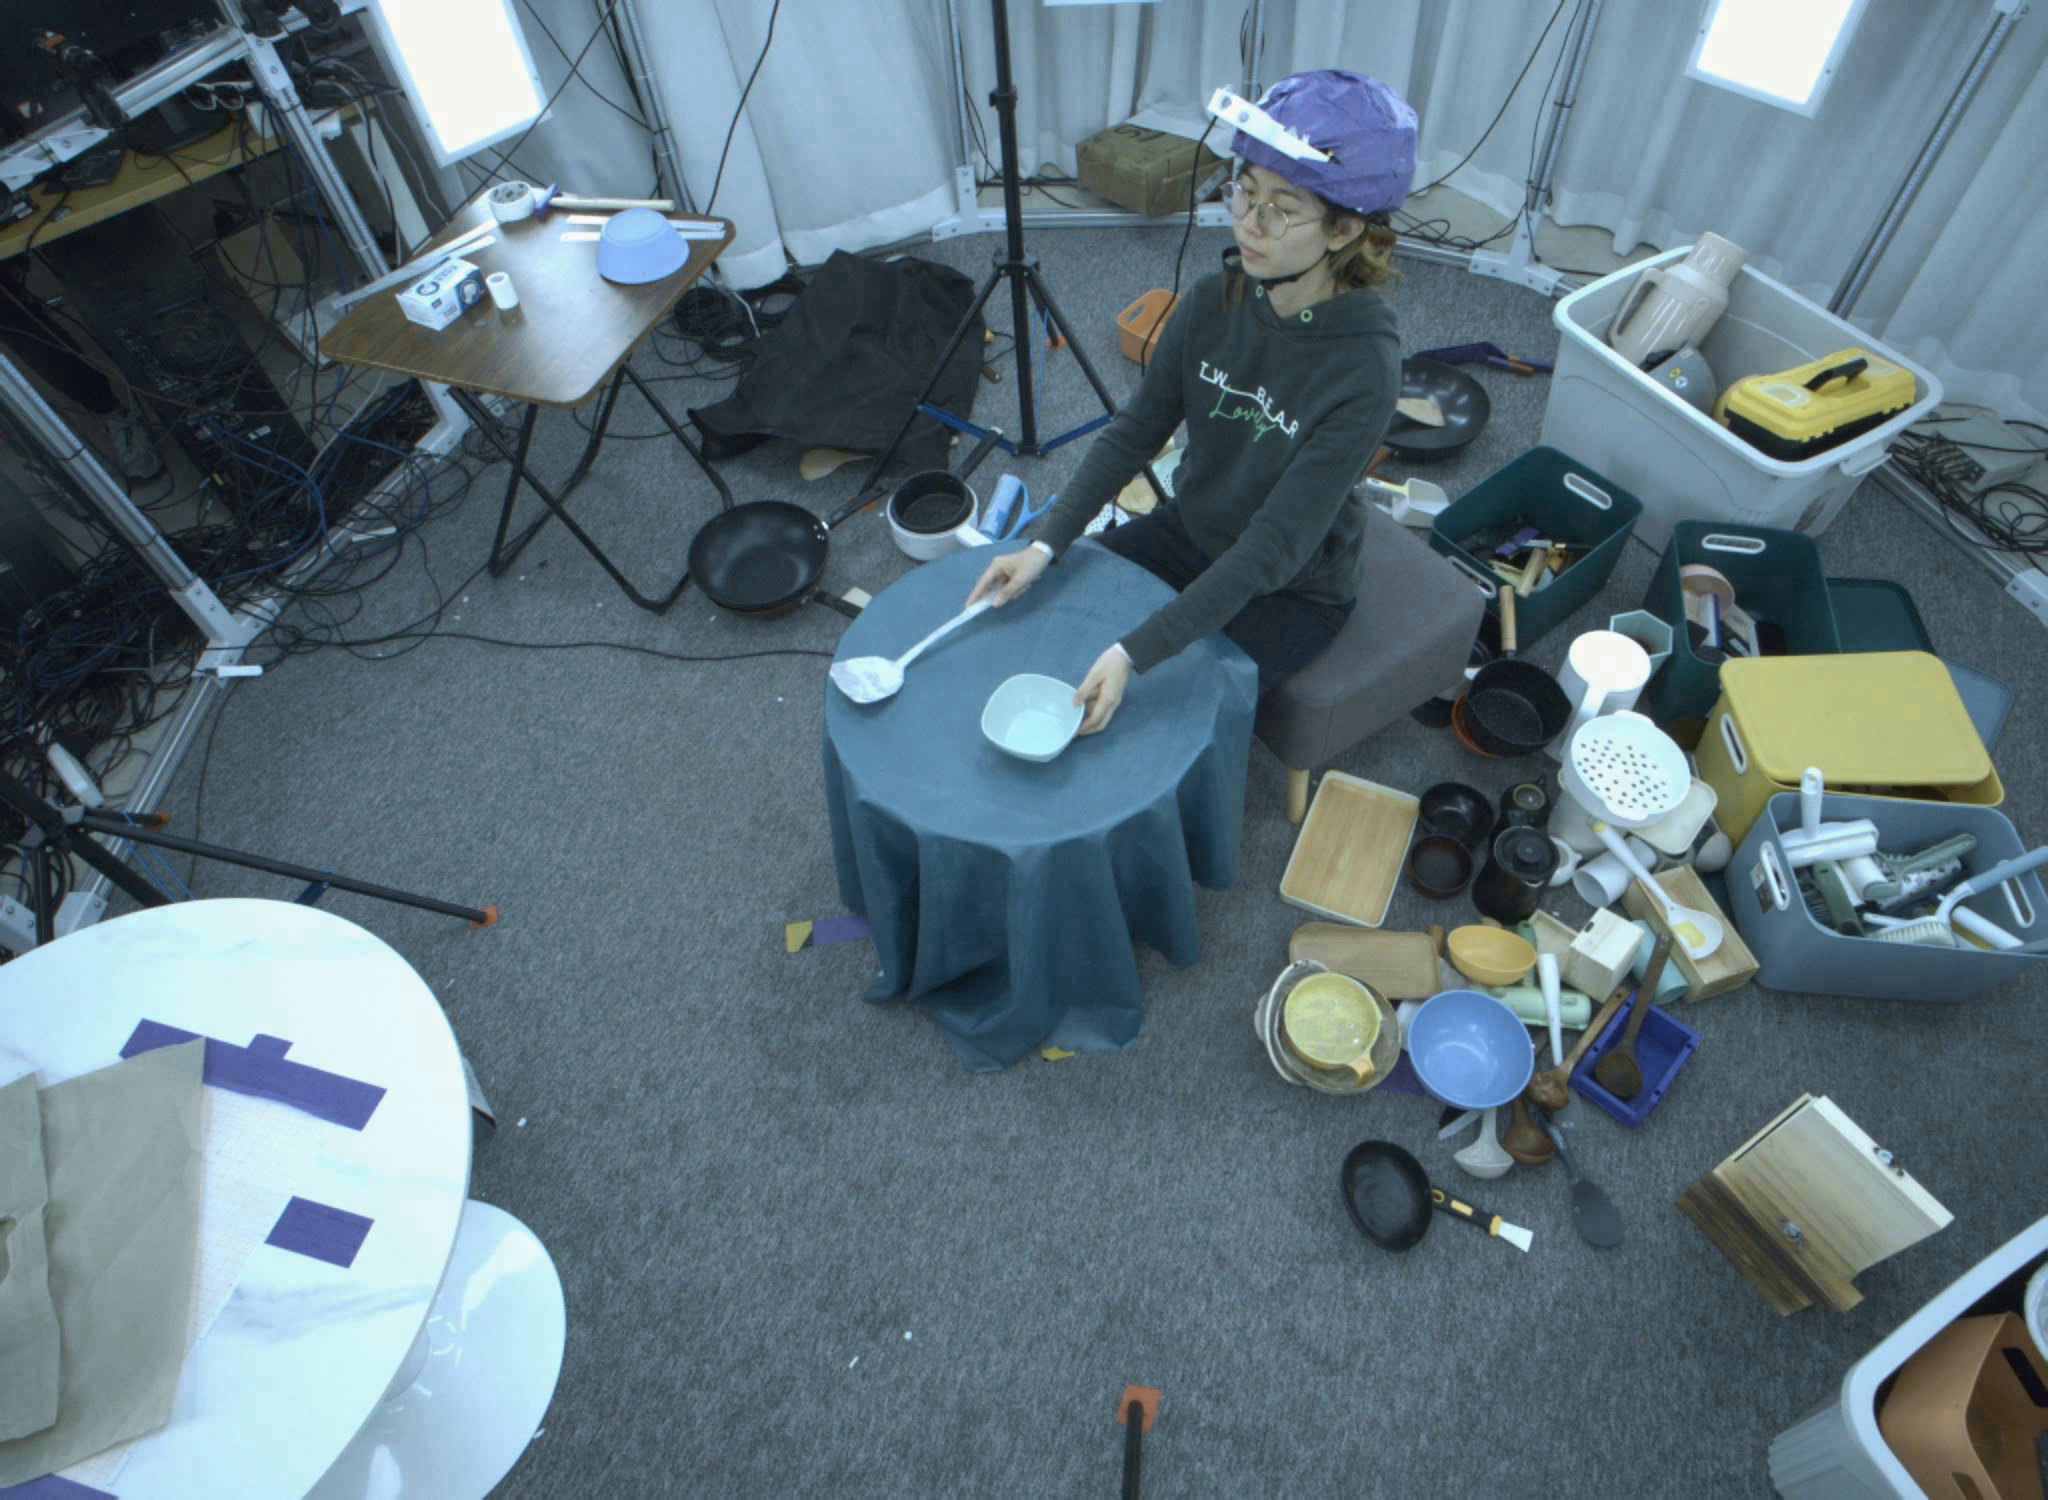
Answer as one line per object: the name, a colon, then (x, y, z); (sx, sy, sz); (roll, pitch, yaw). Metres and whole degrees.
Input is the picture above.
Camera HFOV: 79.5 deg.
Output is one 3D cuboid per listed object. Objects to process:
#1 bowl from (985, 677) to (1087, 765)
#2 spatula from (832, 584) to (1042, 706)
bowl: (0.019, -0.032, 1.784); (0.151, 0.059, 0.150); (-2, 57, 5)
spatula: (-0.127, -0.177, 1.891); (0.367, 0.045, 0.097); (-35, 59, -15)
